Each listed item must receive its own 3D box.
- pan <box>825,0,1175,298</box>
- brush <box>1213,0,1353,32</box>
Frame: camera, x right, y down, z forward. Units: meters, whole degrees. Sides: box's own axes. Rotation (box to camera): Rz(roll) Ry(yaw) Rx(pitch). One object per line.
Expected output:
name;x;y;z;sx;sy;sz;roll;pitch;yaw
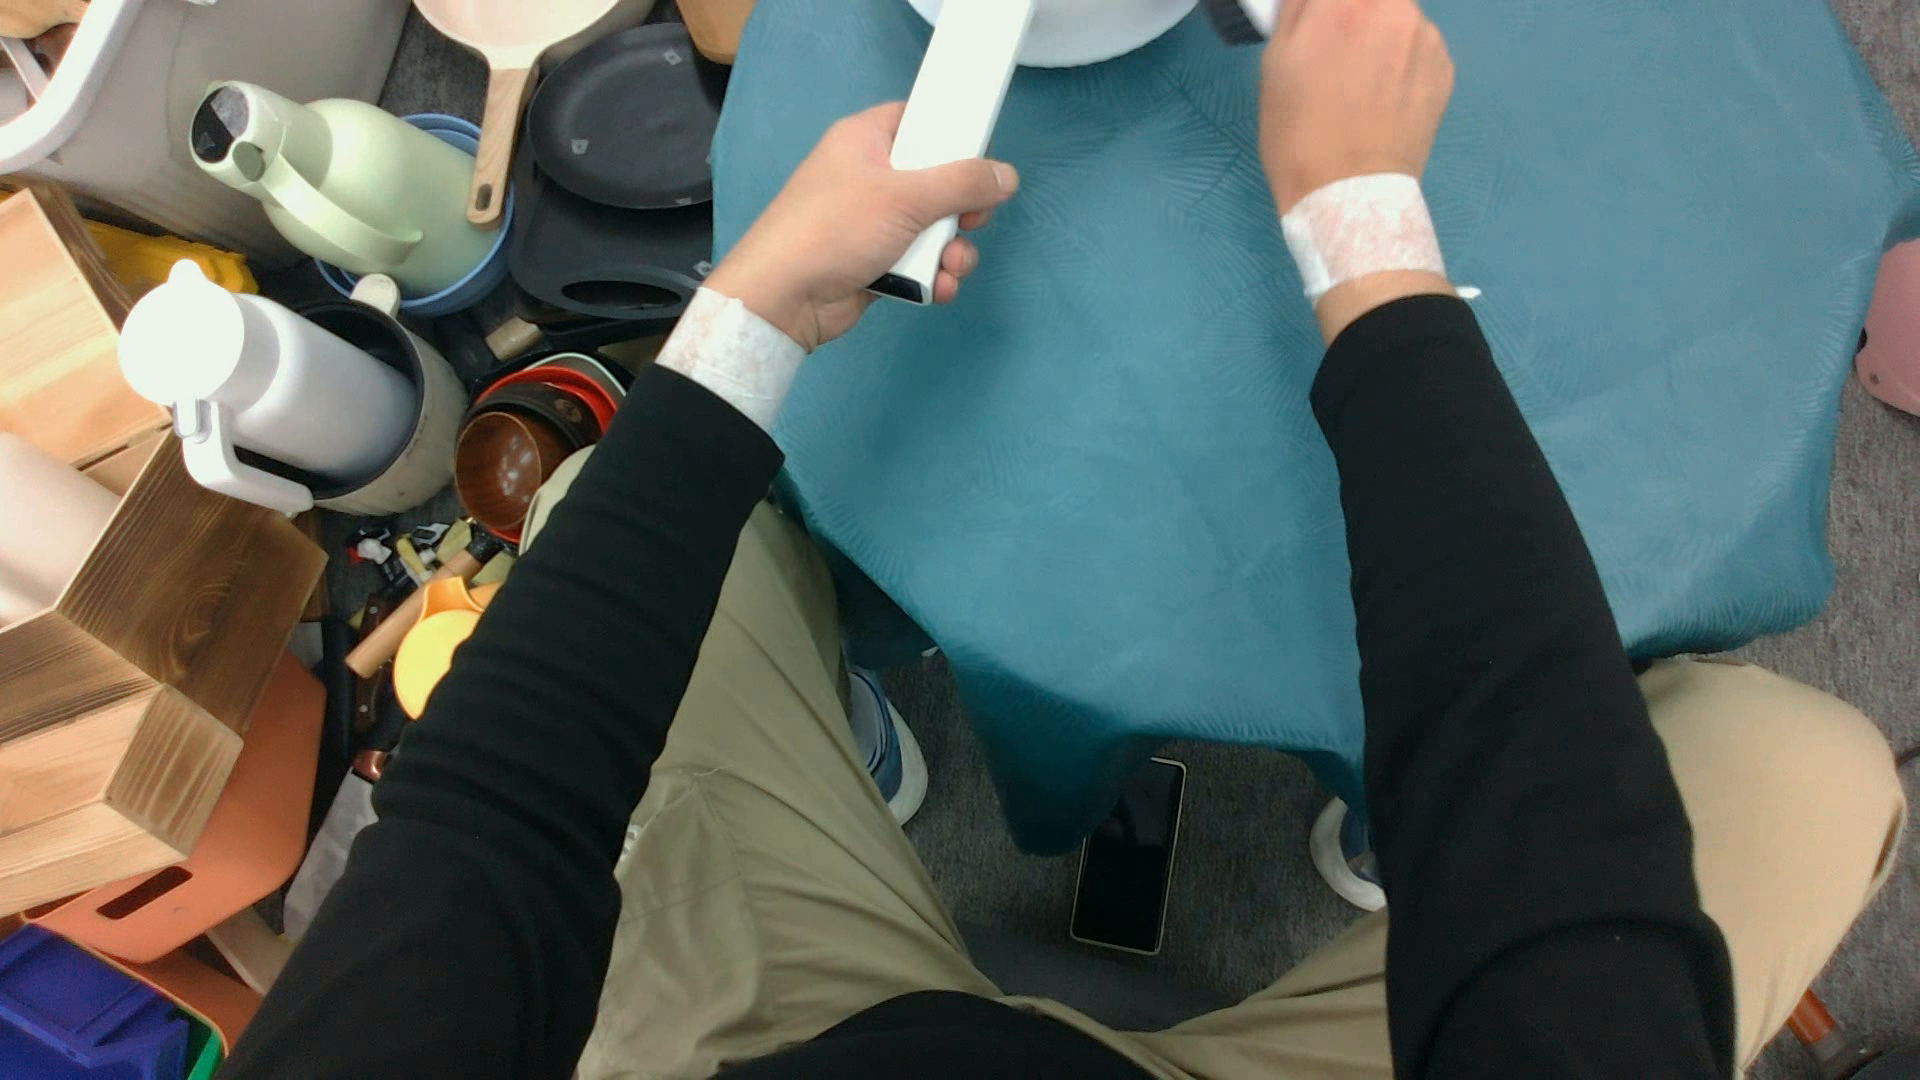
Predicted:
pan;0.014;-0.275;0.693;0.201;0.102;0.355;17;78;4
brush;0.149;-0.279;0.621;0.050;0.099;0.072;-36;37;-22
